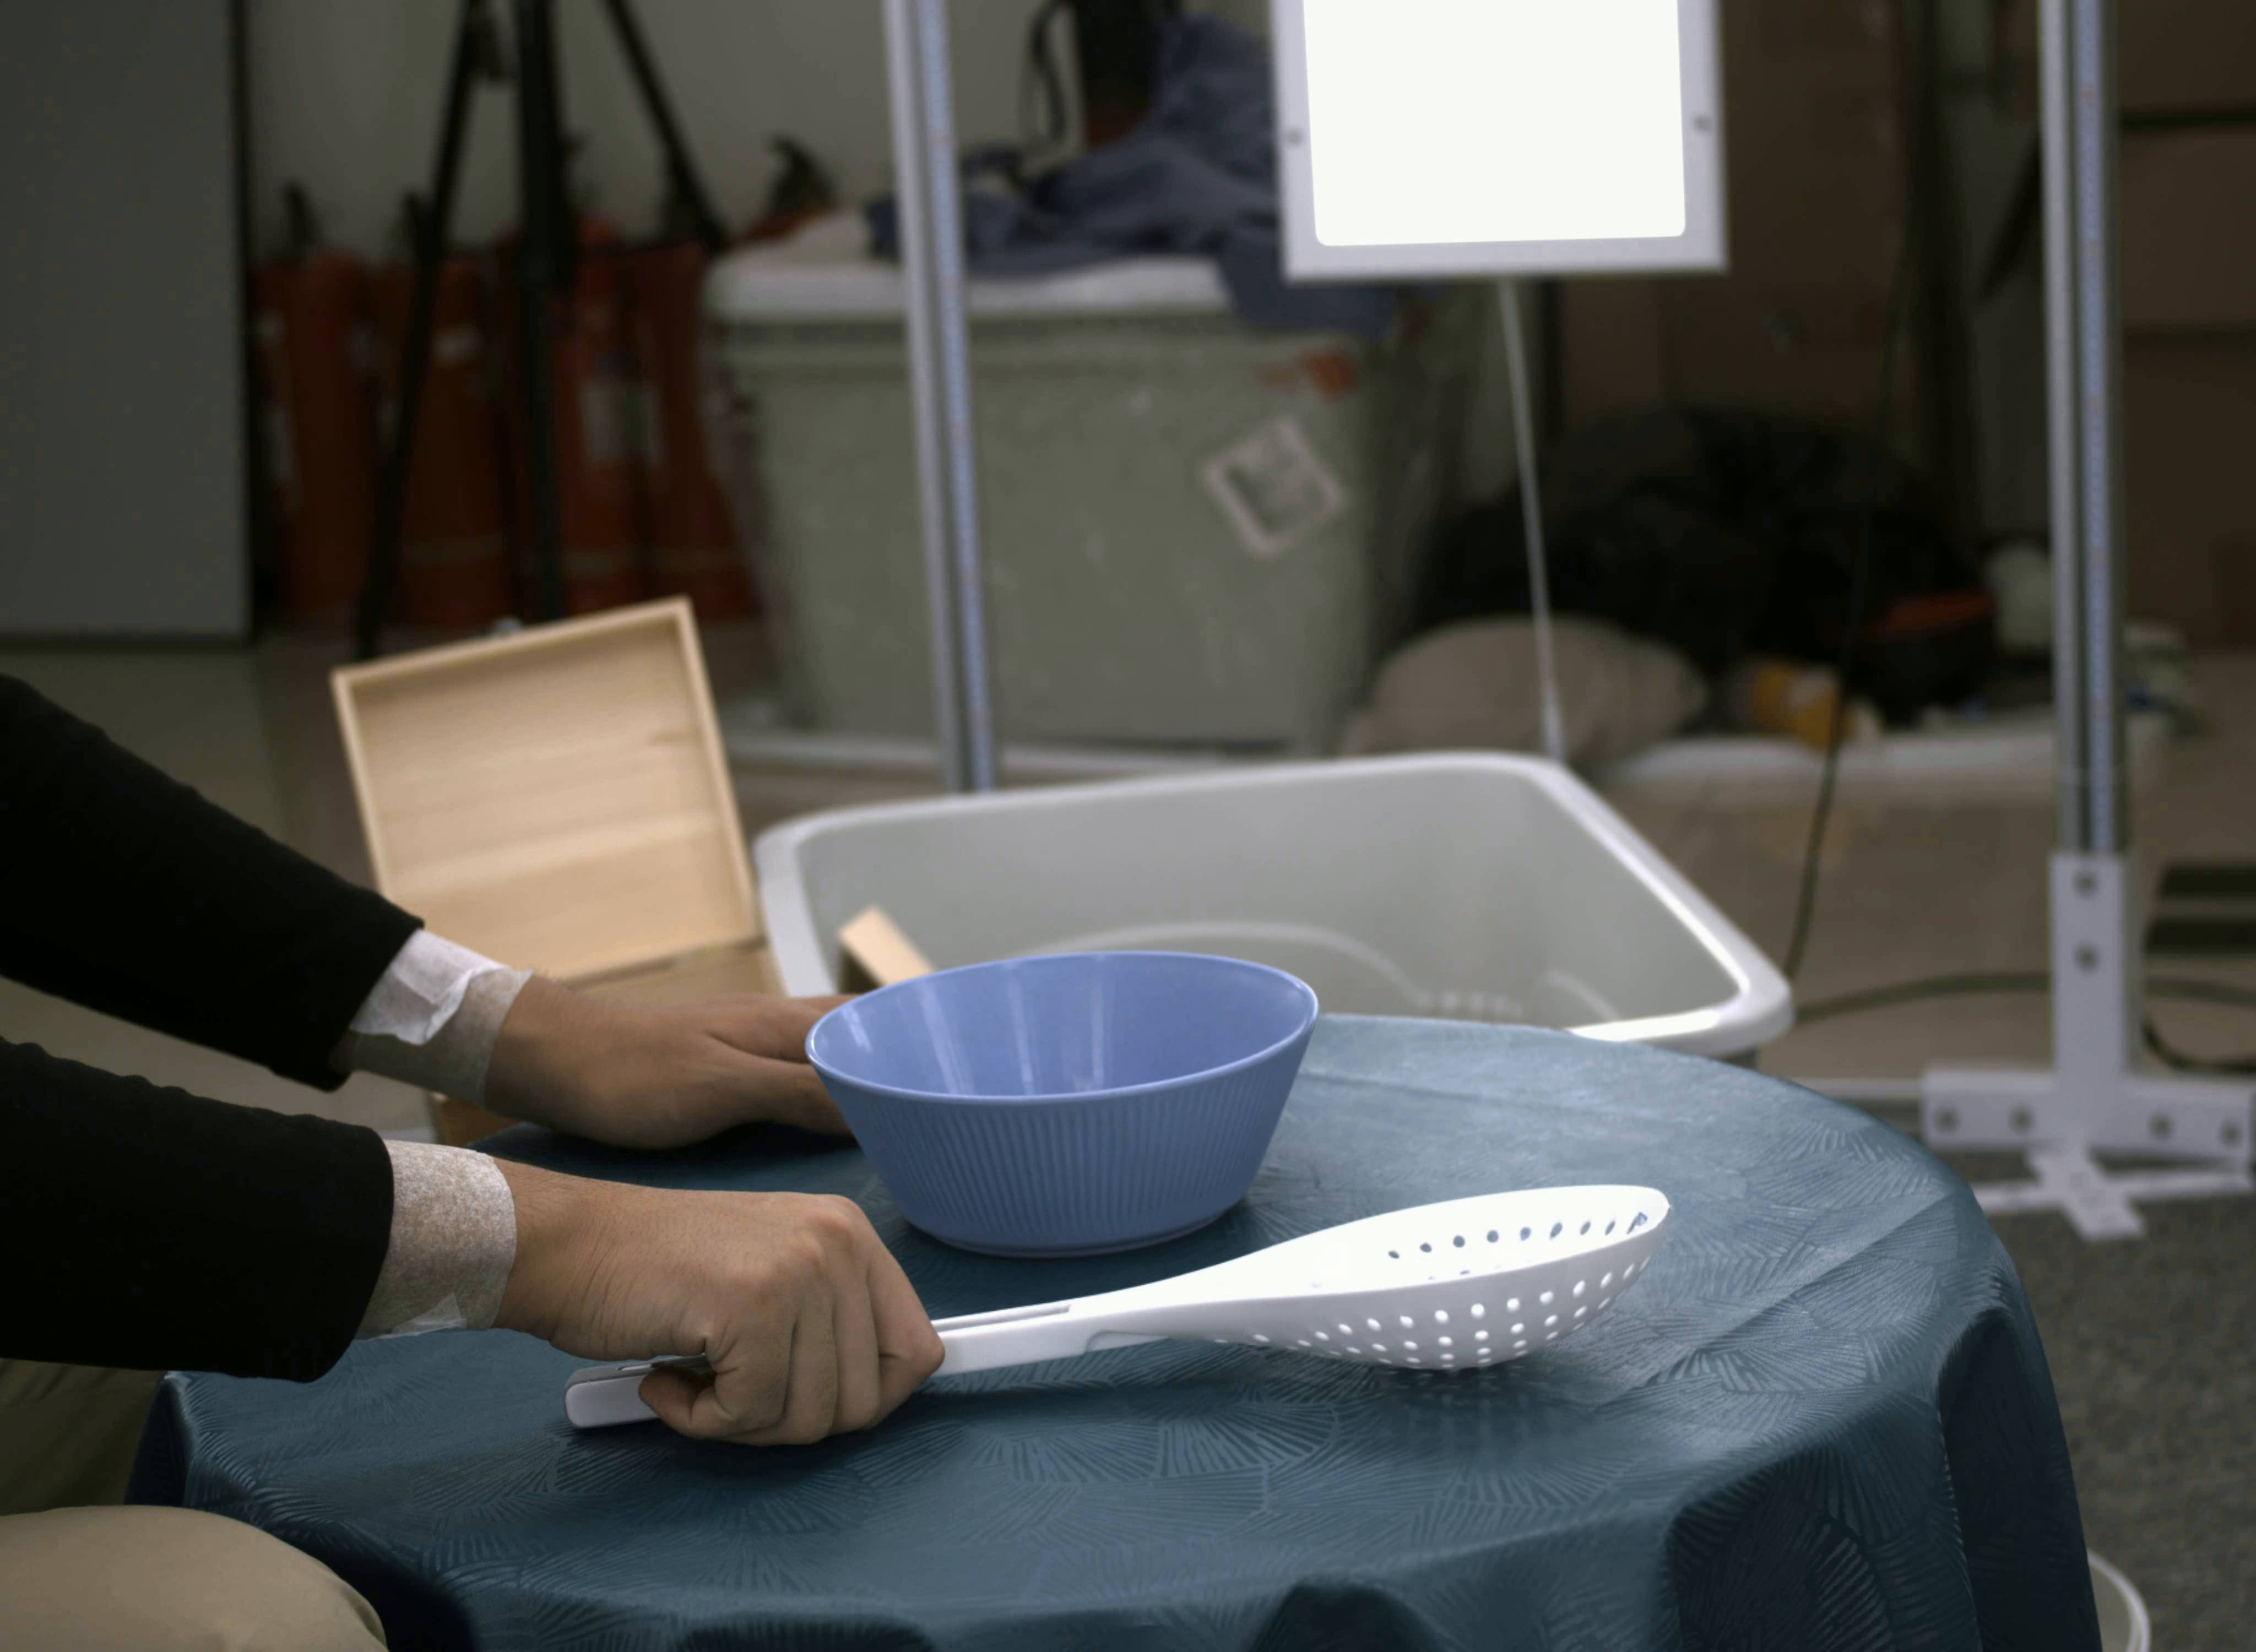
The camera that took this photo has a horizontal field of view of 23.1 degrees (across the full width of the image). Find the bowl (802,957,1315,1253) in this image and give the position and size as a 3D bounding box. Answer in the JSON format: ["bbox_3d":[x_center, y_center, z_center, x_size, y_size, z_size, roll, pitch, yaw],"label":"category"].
[{"bbox_3d":[-0.021,0.097,1.878,0.175,0.070,0.176,-6,13,0],"label":"bowl"}]

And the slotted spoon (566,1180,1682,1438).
[{"bbox_3d":[-0.001,0.151,1.700,0.350,0.046,0.135,-5,5,3],"label":"slotted spoon"}]
